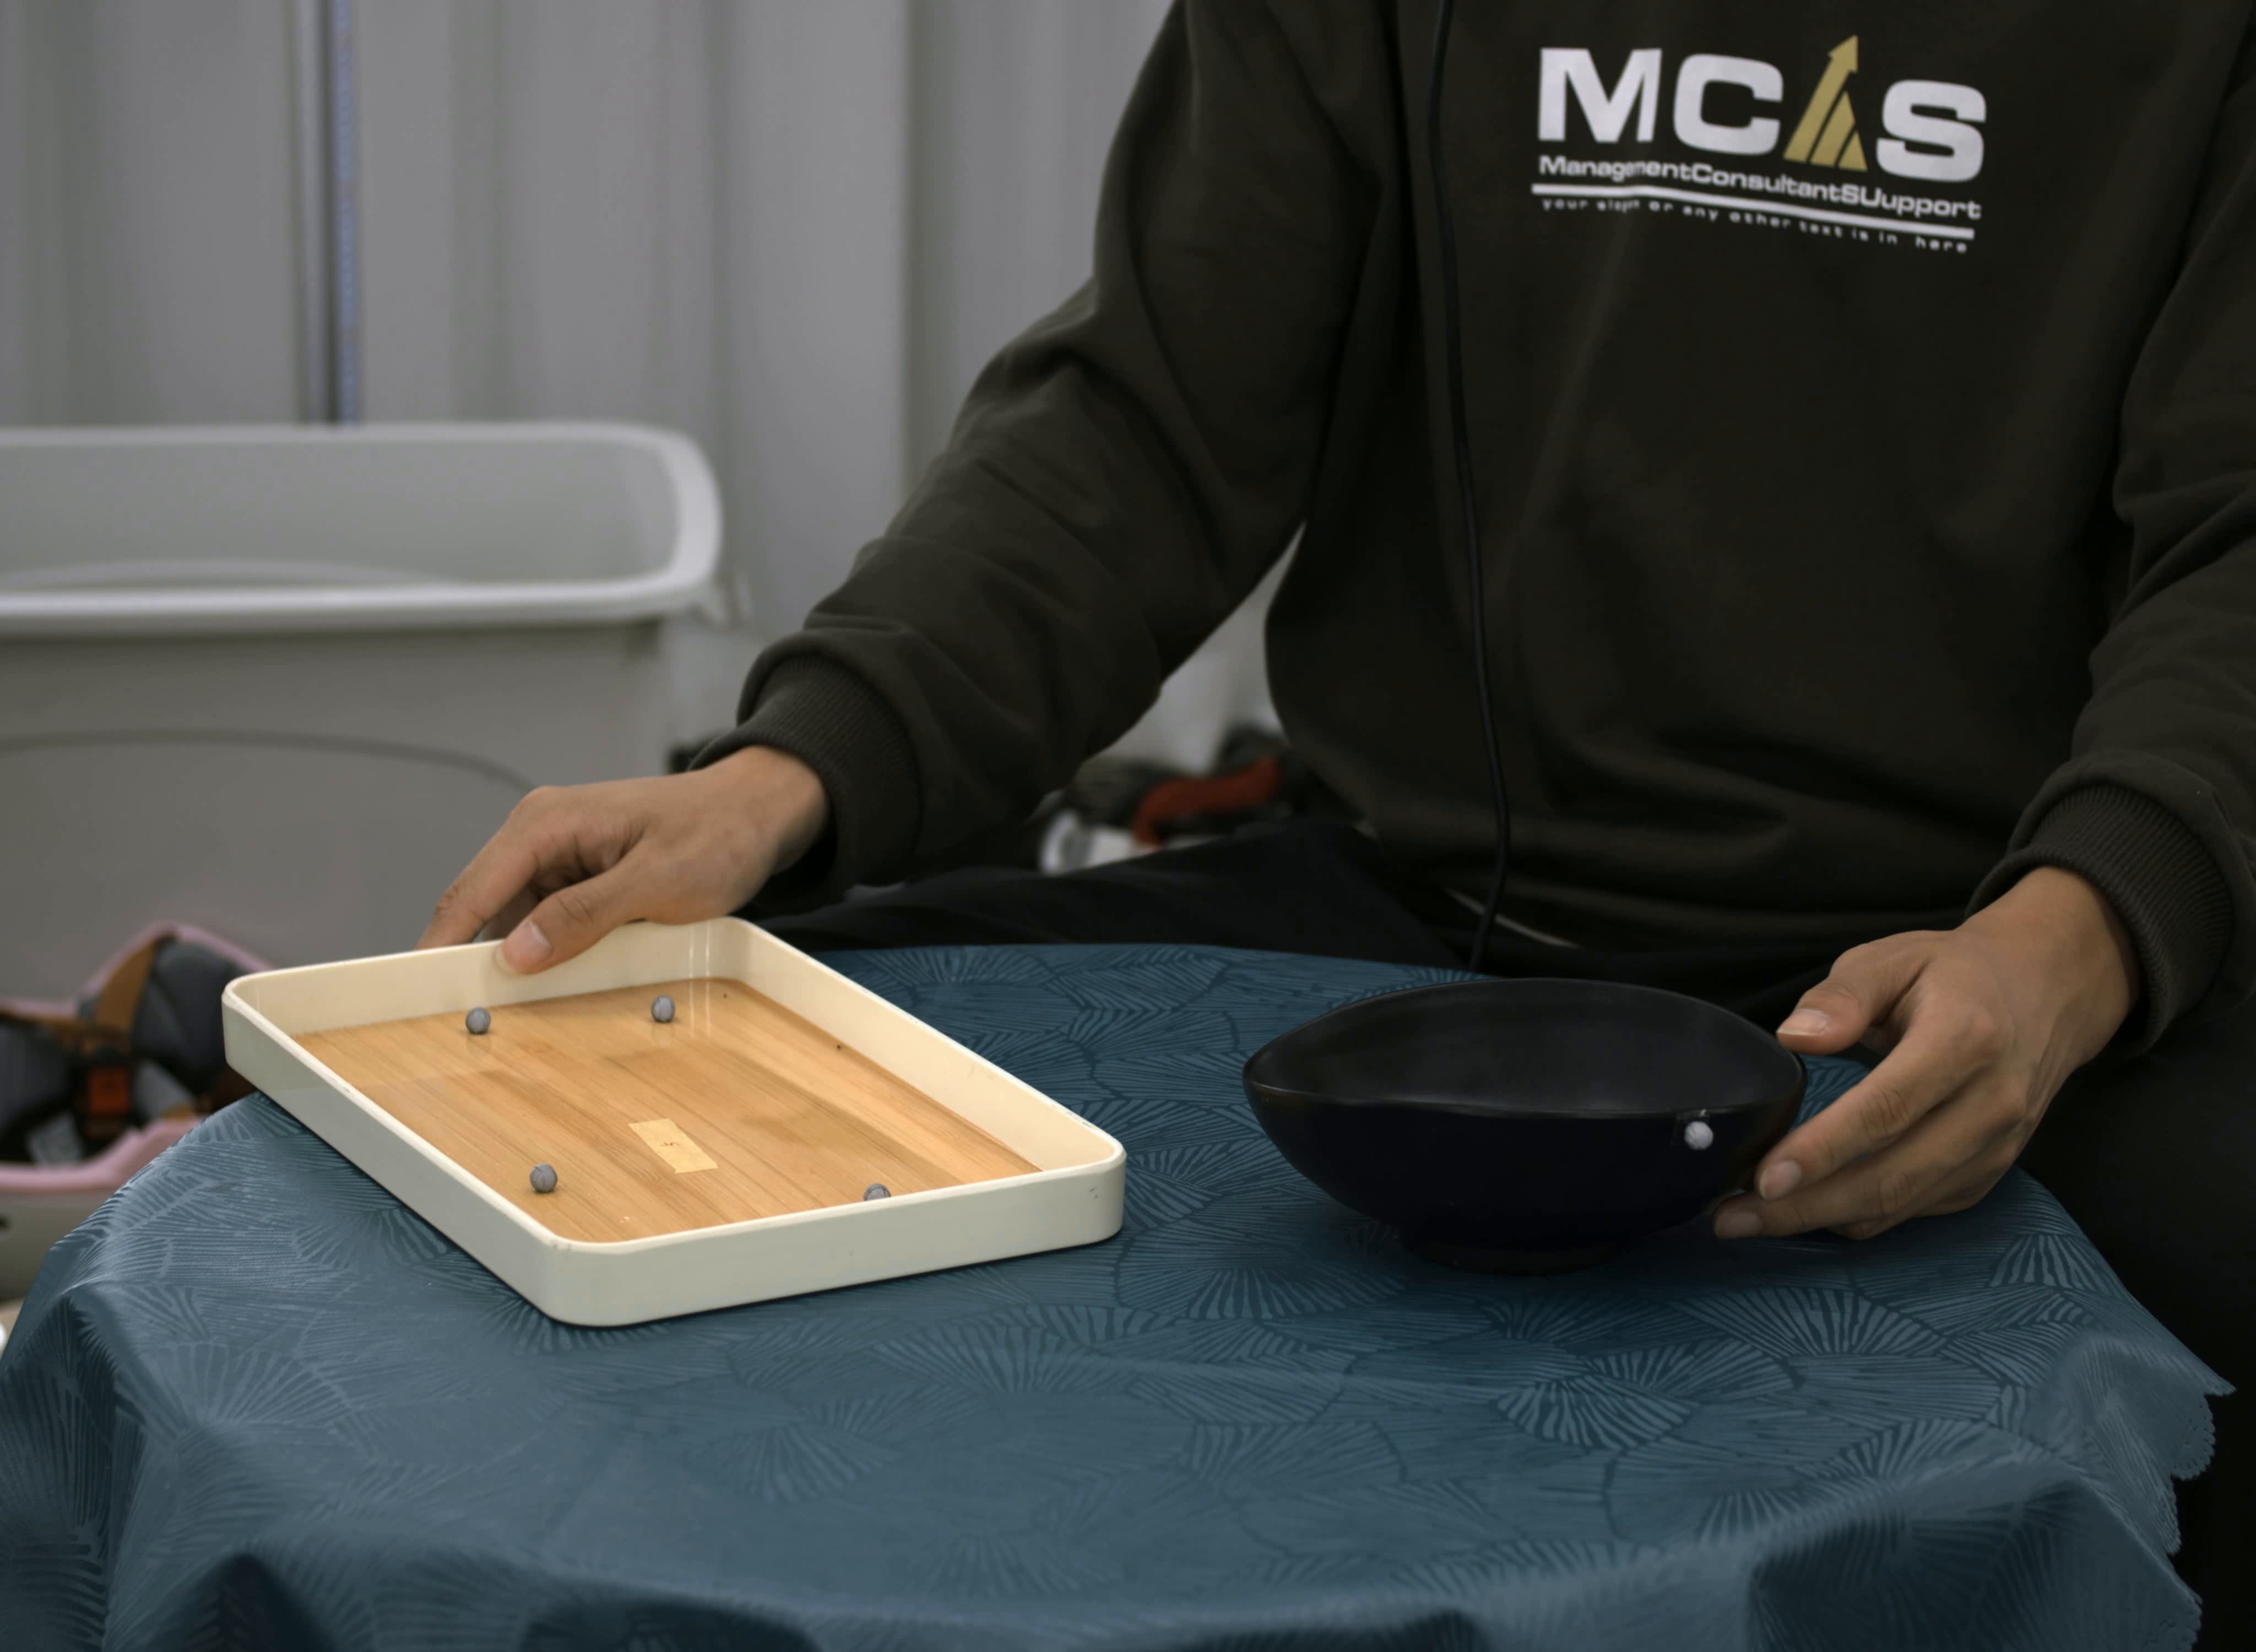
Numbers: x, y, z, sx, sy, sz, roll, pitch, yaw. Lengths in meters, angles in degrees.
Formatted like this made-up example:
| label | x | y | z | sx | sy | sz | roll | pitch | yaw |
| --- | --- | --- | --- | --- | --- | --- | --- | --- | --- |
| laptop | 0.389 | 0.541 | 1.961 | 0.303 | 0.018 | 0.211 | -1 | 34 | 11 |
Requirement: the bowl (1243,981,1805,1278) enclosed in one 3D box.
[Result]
| label | x | y | z | sx | sy | sz | roll | pitch | yaw |
| --- | --- | --- | --- | --- | --- | --- | --- | --- | --- |
| bowl | 0.118 | 0.096 | 1.584 | 0.169 | 0.067 | 0.137 | 2 | 14 | 10 |

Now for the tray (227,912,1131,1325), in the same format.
| label | x | y | z | sx | sy | sz | roll | pitch | yaw |
| --- | --- | --- | --- | --- | --- | --- | --- | --- | --- |
| tray | -0.148 | 0.087 | 1.662 | 0.192 | 0.027 | 0.296 | -8 | 18 | -29 |
